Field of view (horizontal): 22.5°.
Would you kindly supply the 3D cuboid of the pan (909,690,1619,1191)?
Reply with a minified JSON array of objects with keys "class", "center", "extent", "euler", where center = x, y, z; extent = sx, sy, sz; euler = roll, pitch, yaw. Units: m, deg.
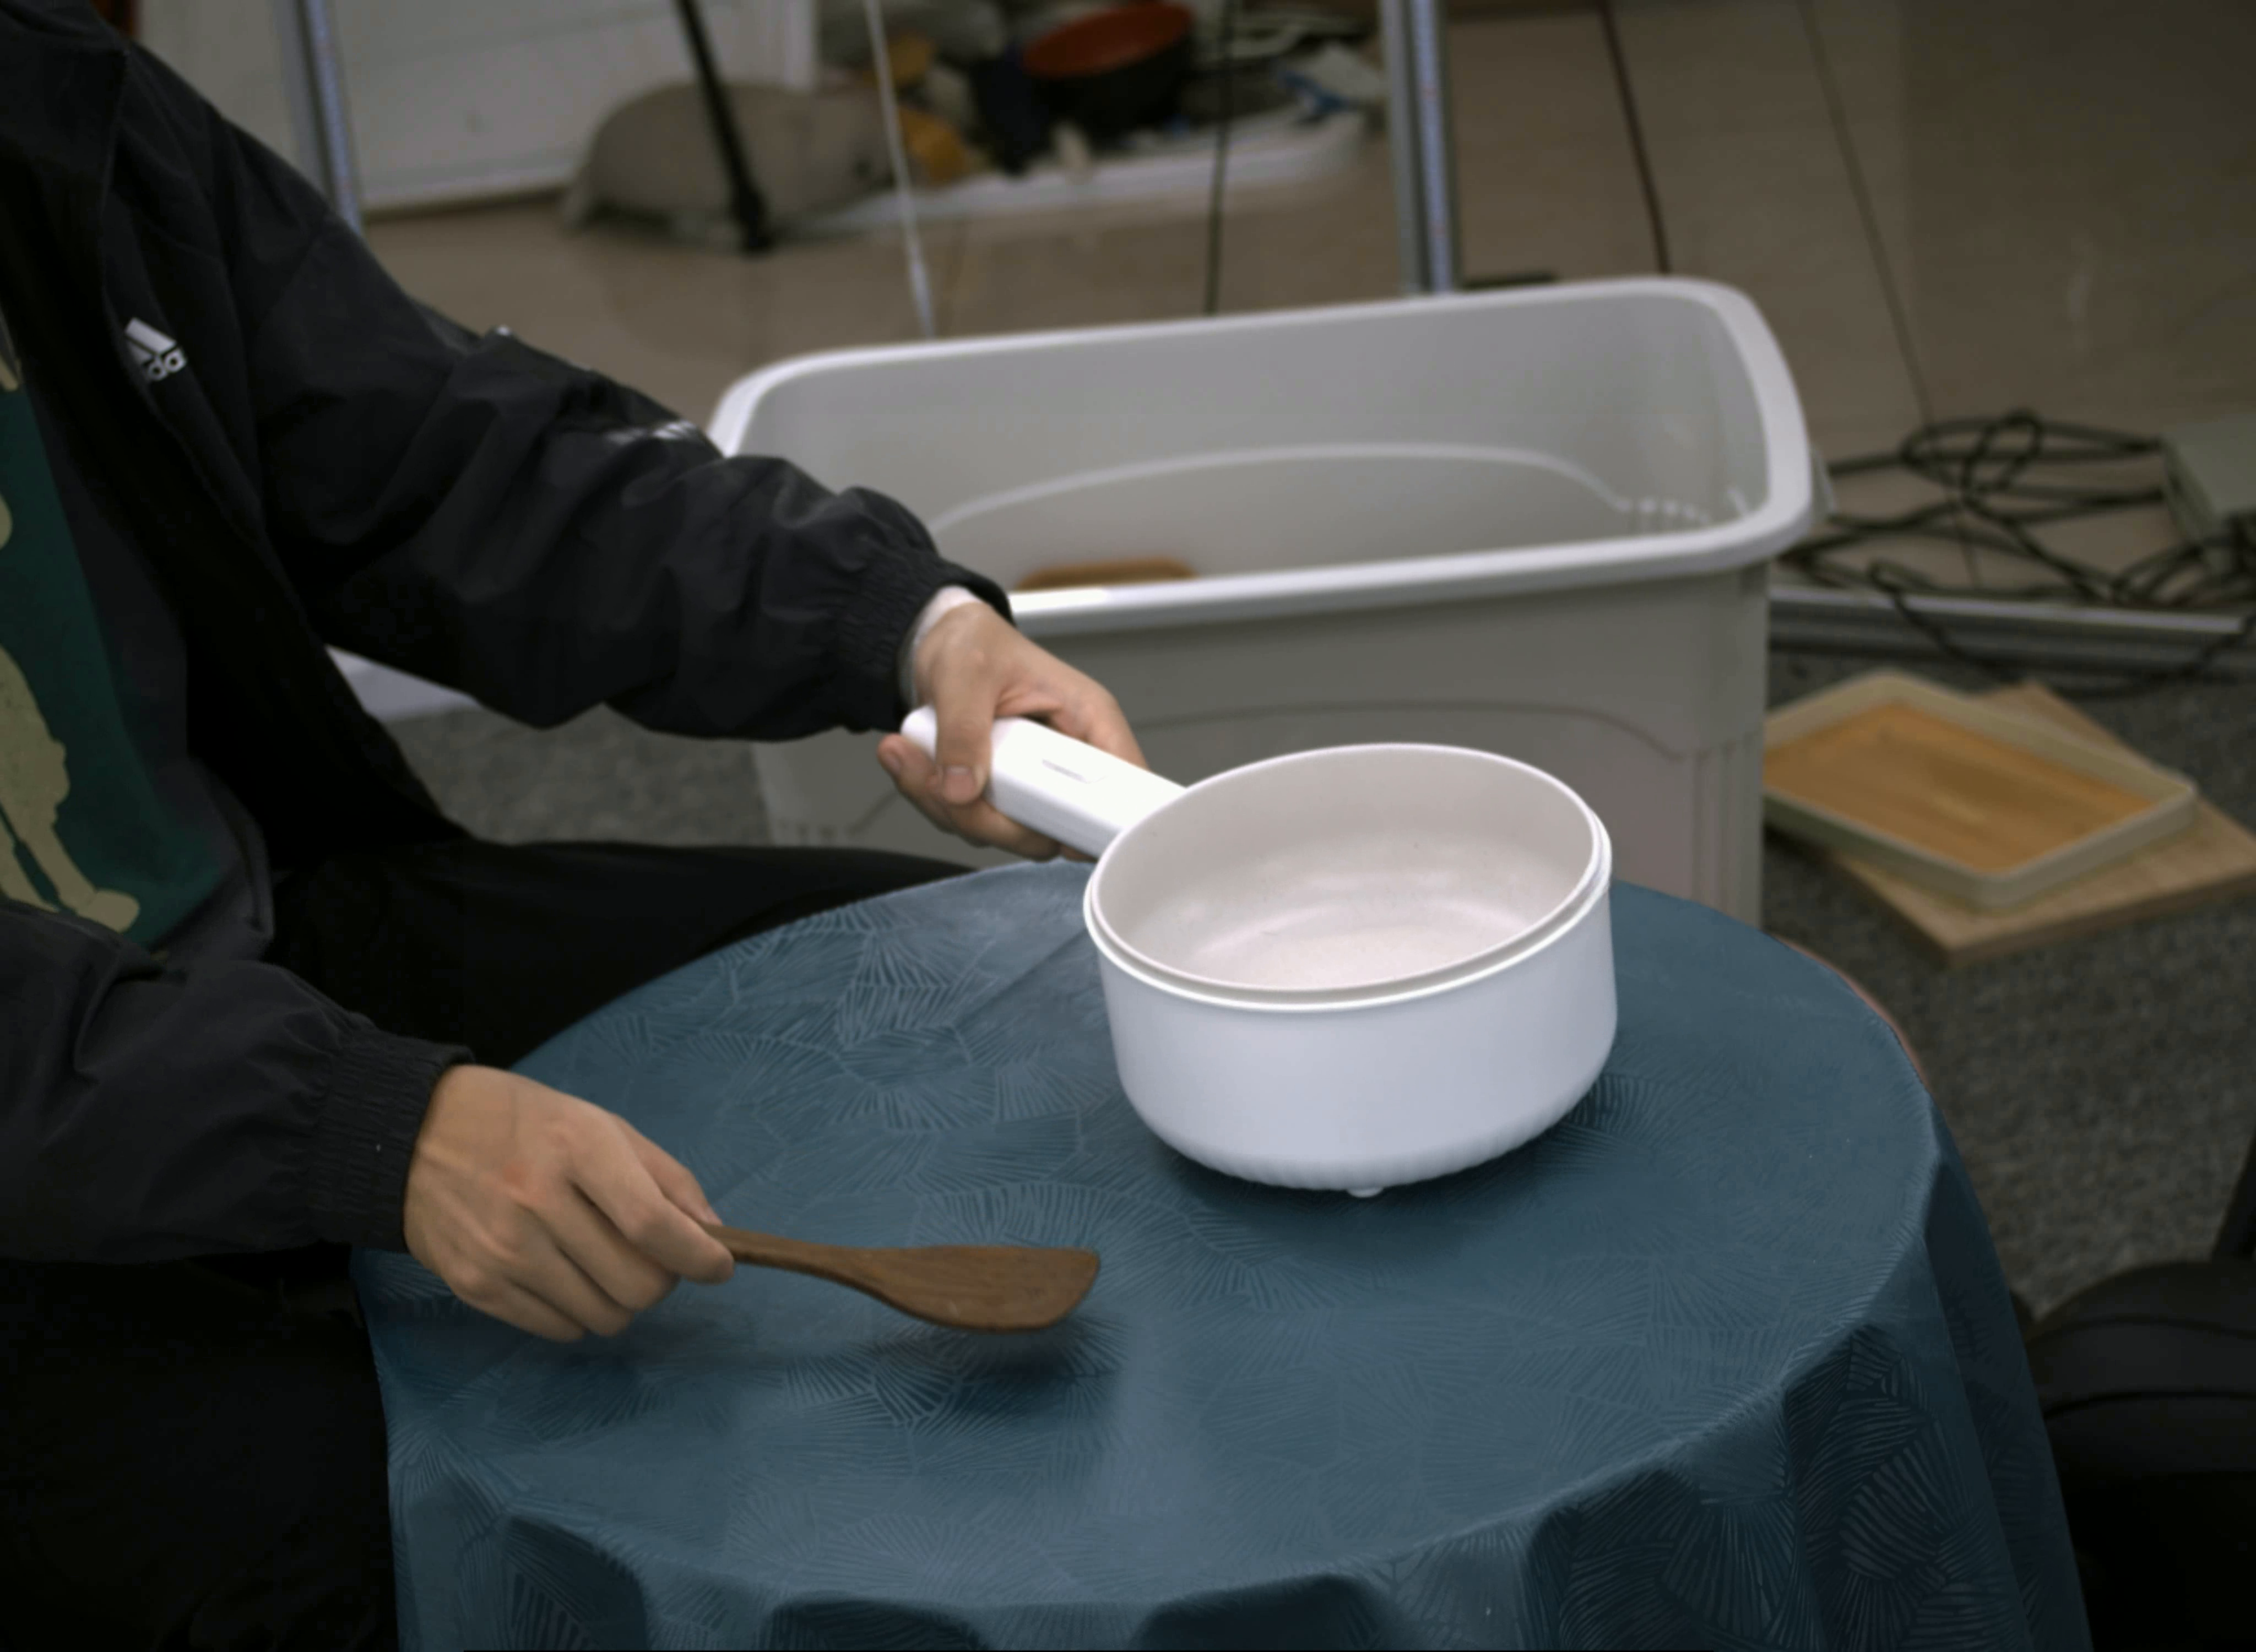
[{"class":"pan","center":[0.040,0.036,2.221],"extent":[0.199,0.104,0.351],"euler":[-28,32,-31]}]

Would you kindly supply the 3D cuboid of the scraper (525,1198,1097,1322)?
[{"class":"scraper","center":[-0.117,0.154,2.051],"extent":[0.210,0.011,0.075],"euler":[7,17,14]}]
